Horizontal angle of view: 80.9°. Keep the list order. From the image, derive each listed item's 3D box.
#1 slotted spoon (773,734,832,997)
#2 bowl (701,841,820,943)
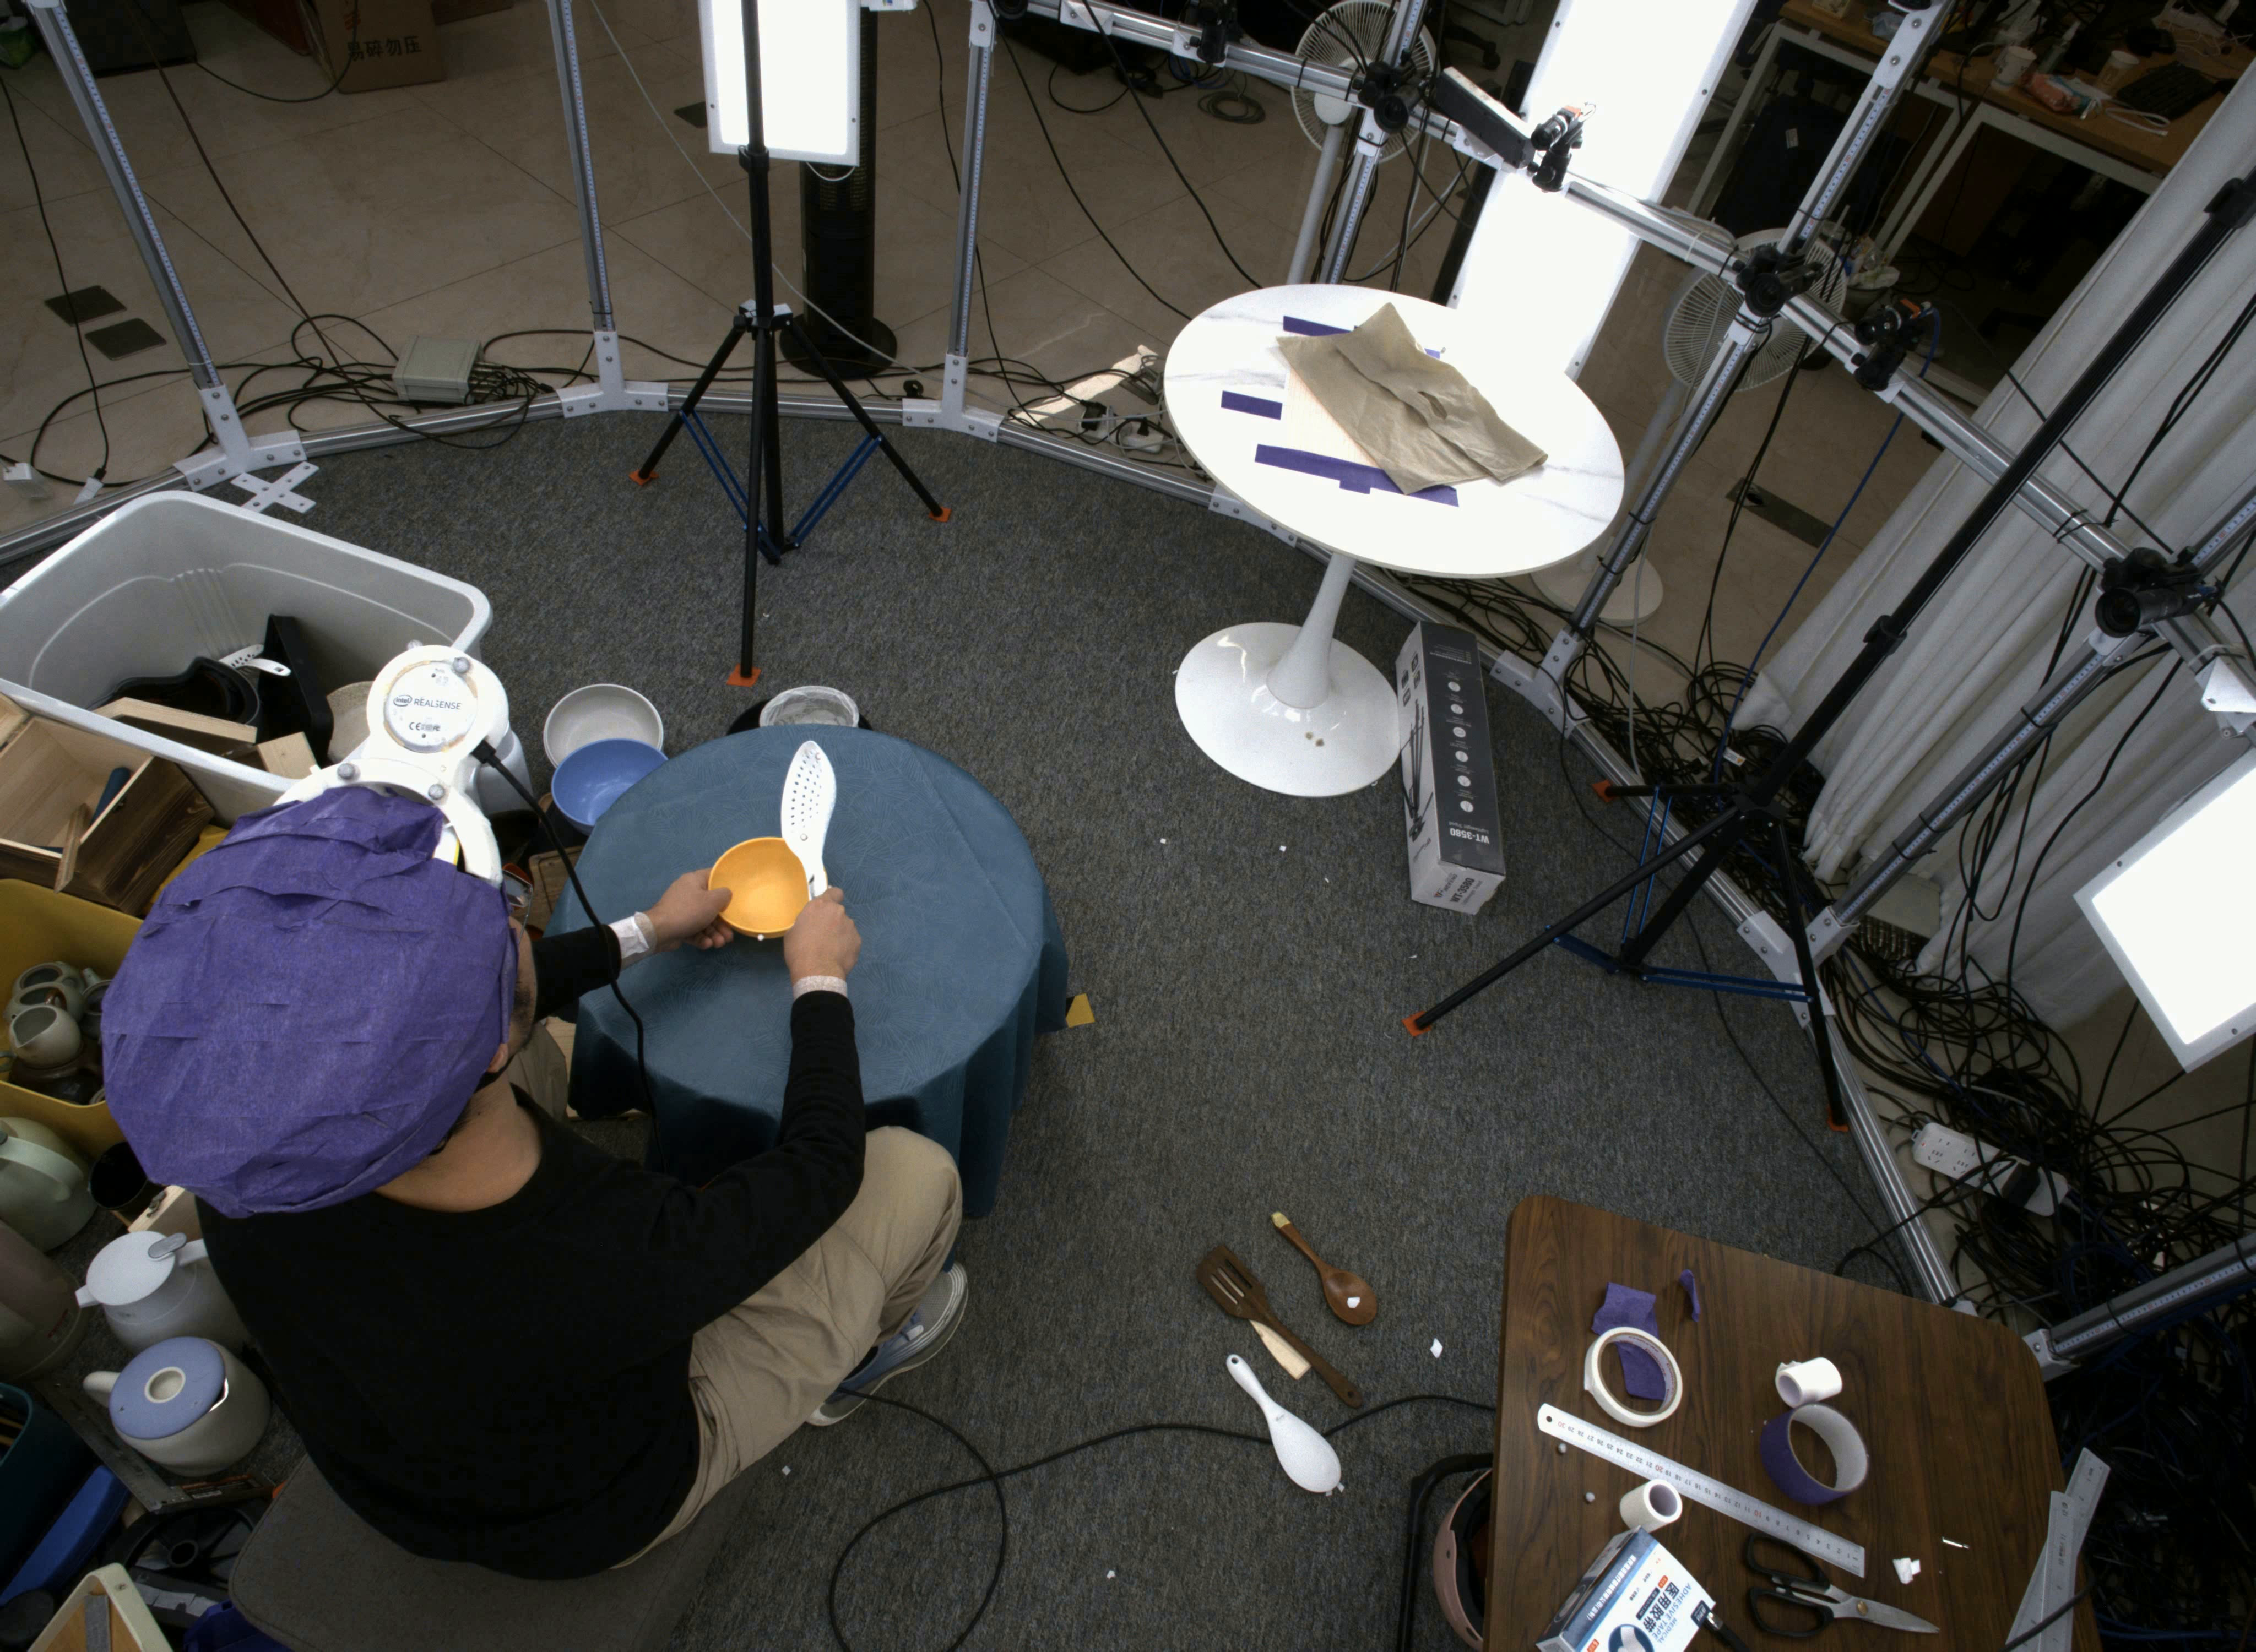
[{"bbox_3d":[-0.385,0.043,1.547,0.046,0.136,0.342,10,51,-29],"label":"slotted spoon"},{"bbox_3d":[-0.454,0.091,1.609,0.145,0.061,0.142,7,51,-6],"label":"bowl"}]
